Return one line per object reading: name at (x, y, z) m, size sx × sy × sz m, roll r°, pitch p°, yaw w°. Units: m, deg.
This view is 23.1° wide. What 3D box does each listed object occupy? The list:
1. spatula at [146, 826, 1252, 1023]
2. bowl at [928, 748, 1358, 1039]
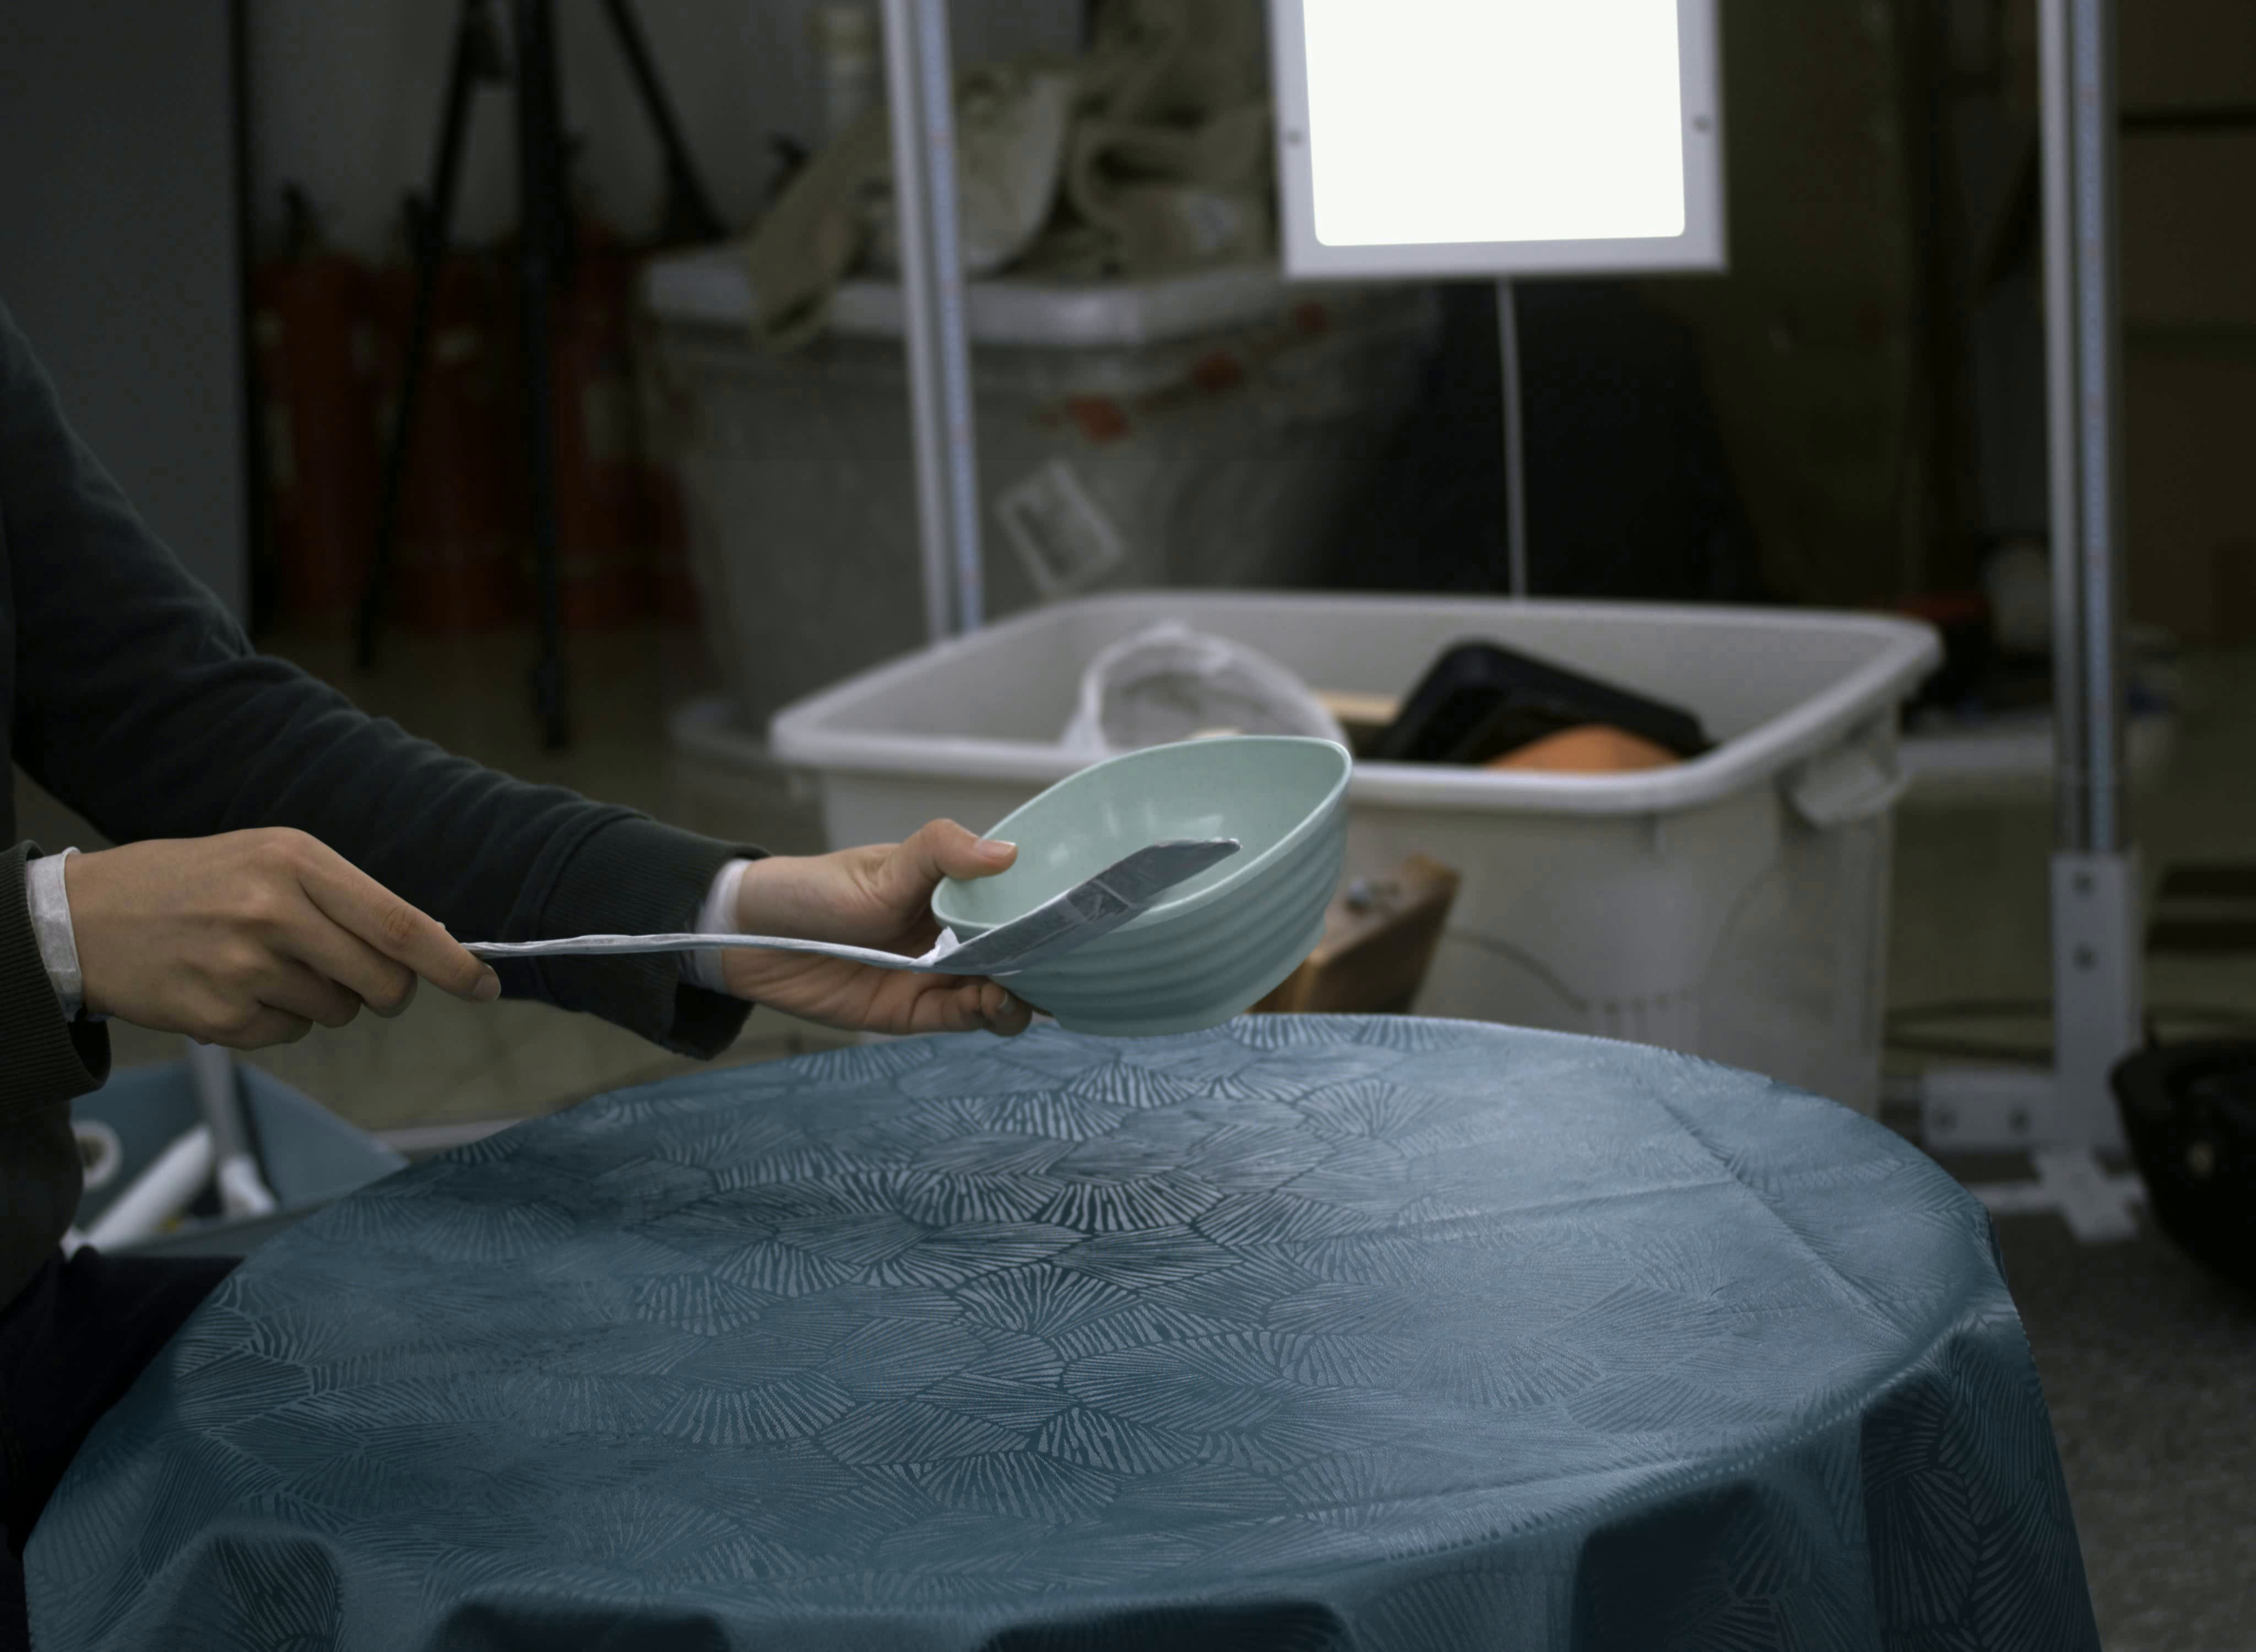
spatula at (-0.141, 0.031, 1.715) m, size 0.368 × 0.045 × 0.097 m, roll -3°, pitch -1°, yaw 15°
bowl at (0.012, 0.028, 1.863) m, size 0.152 × 0.058 × 0.151 m, roll -16°, pitch 20°, yaw 4°
